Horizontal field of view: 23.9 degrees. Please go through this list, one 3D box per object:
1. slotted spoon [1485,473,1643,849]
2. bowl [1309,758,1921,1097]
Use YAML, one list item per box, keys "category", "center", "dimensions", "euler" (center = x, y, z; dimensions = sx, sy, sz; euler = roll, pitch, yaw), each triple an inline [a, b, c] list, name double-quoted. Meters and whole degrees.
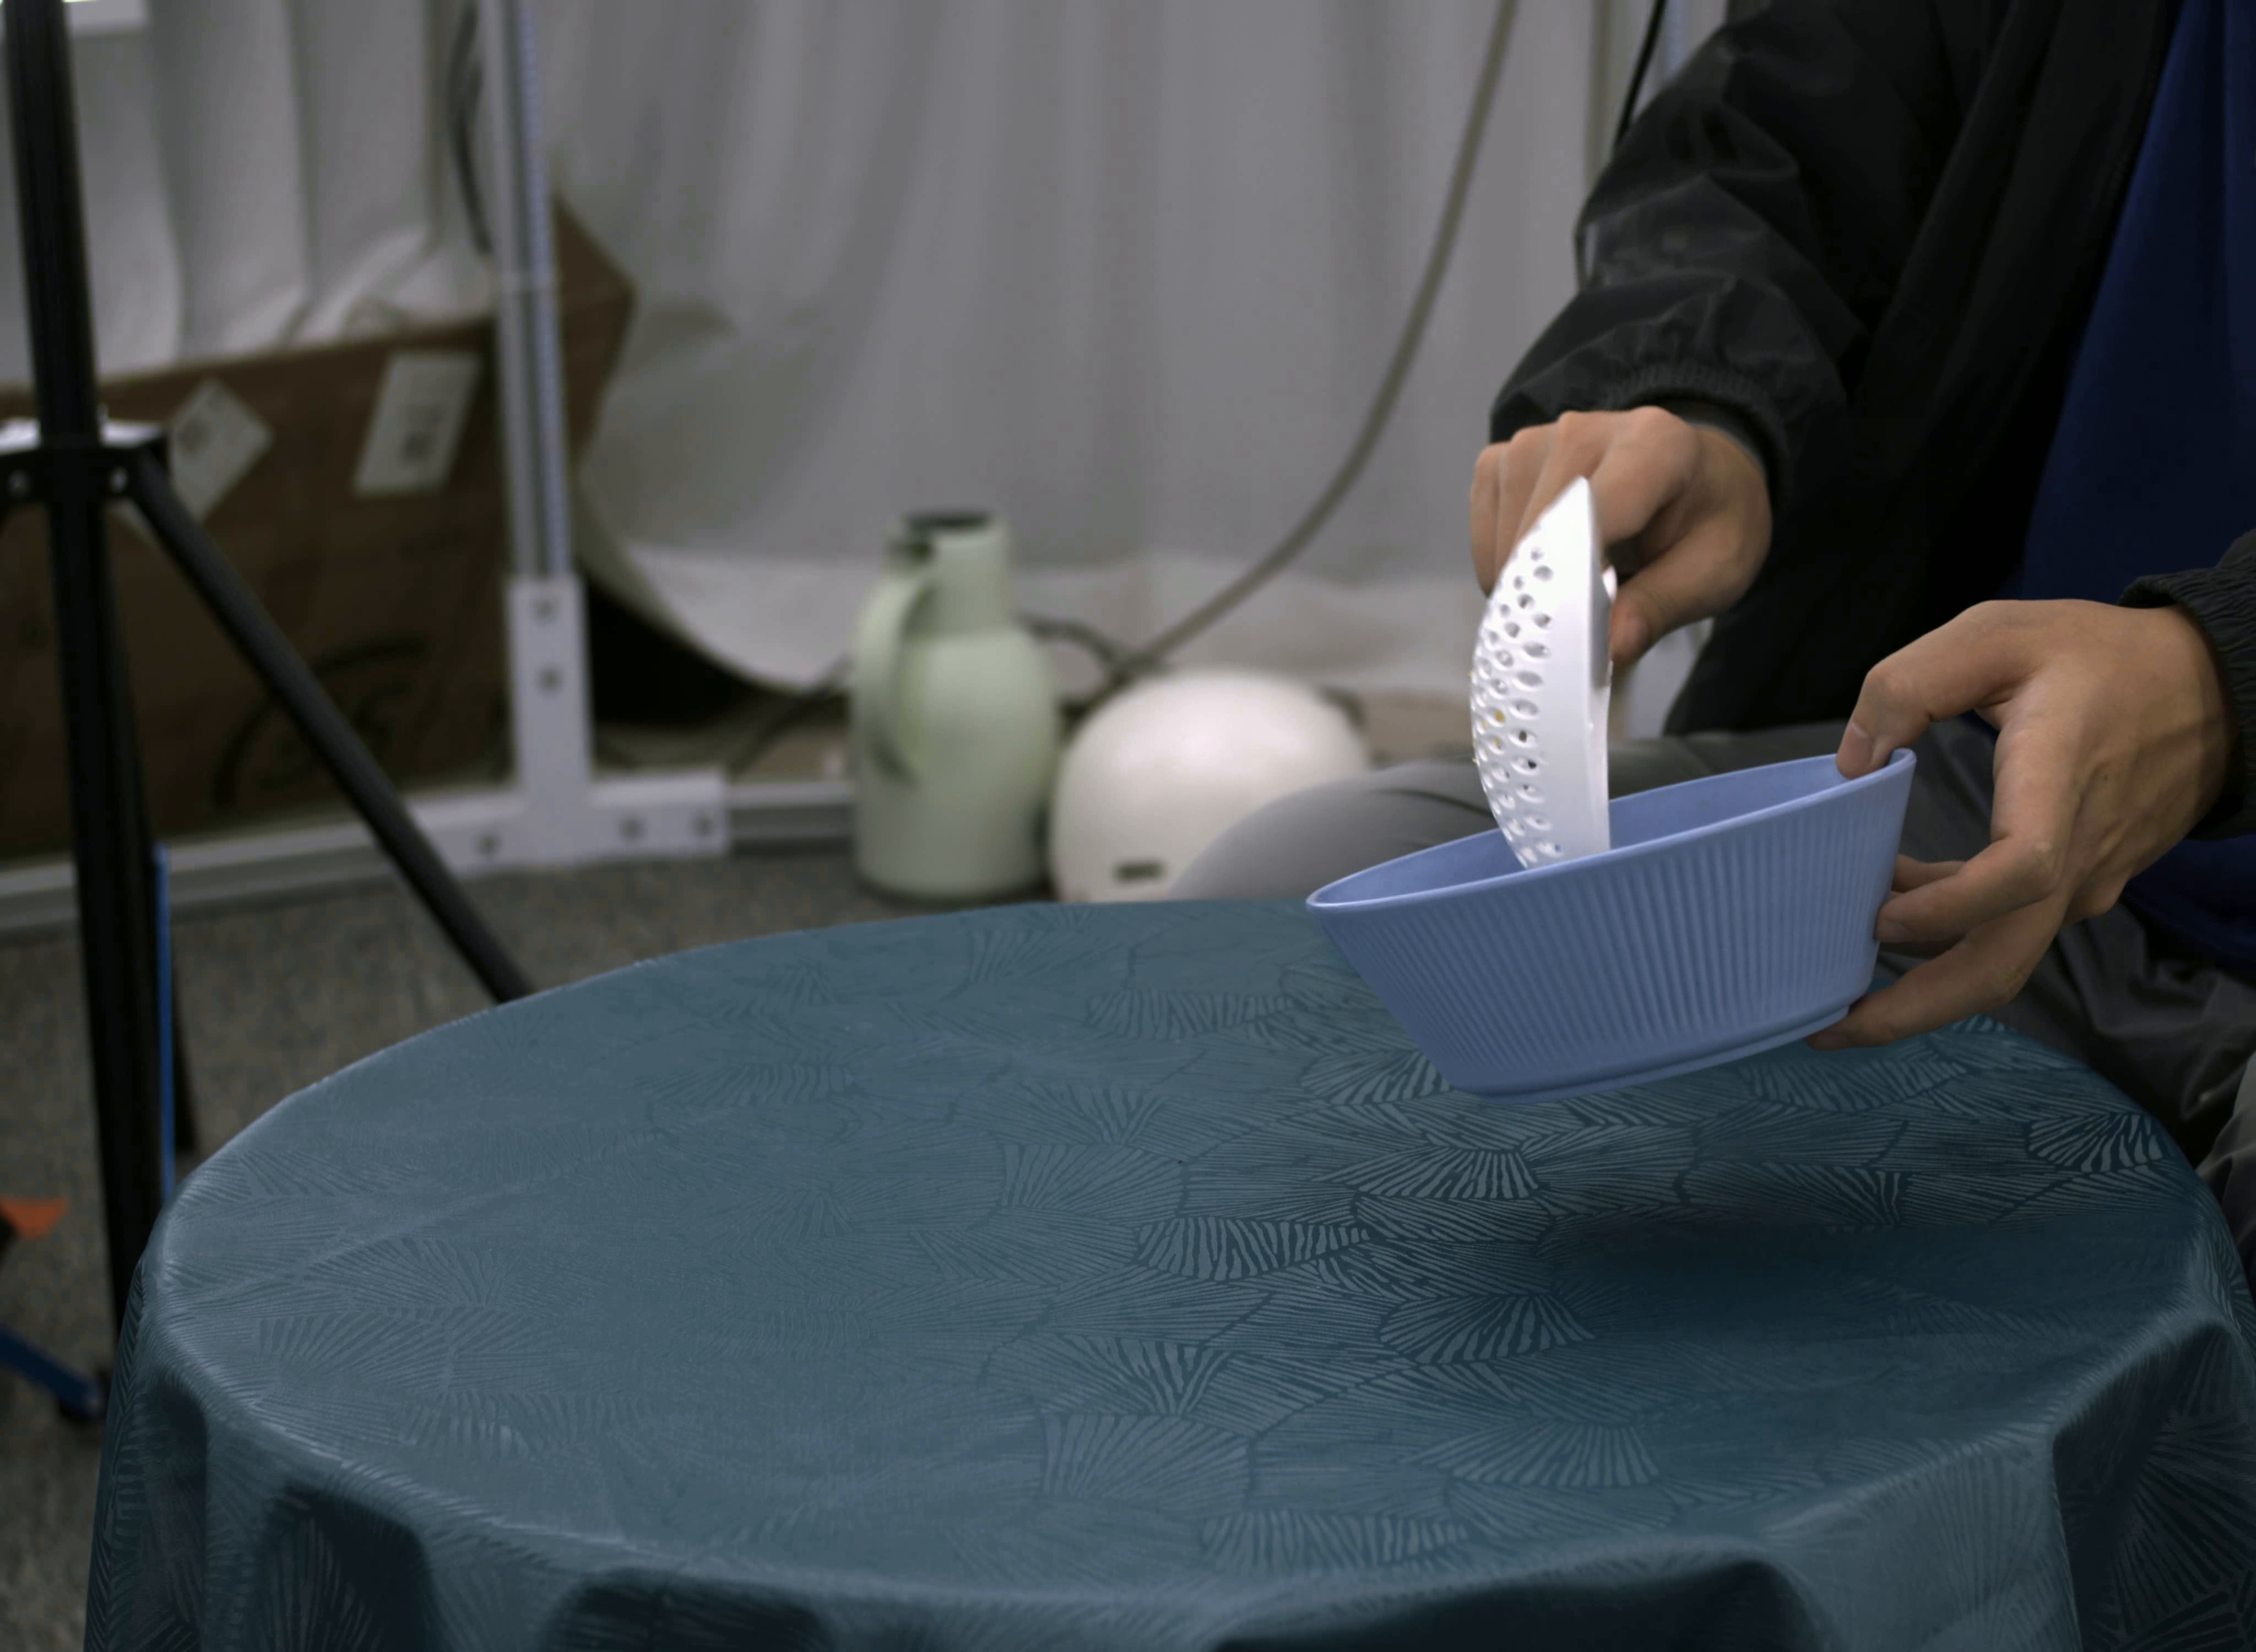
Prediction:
- category: "slotted spoon"
  center: [0.134, -0.055, 1.596]
  dimensions: [0.050, 0.137, 0.347]
  euler: [-6, 13, 8]
- category: "bowl"
  center: [0.143, 0.031, 1.489]
  dimensions: [0.175, 0.070, 0.176]
  euler: [-13, 1, -1]
